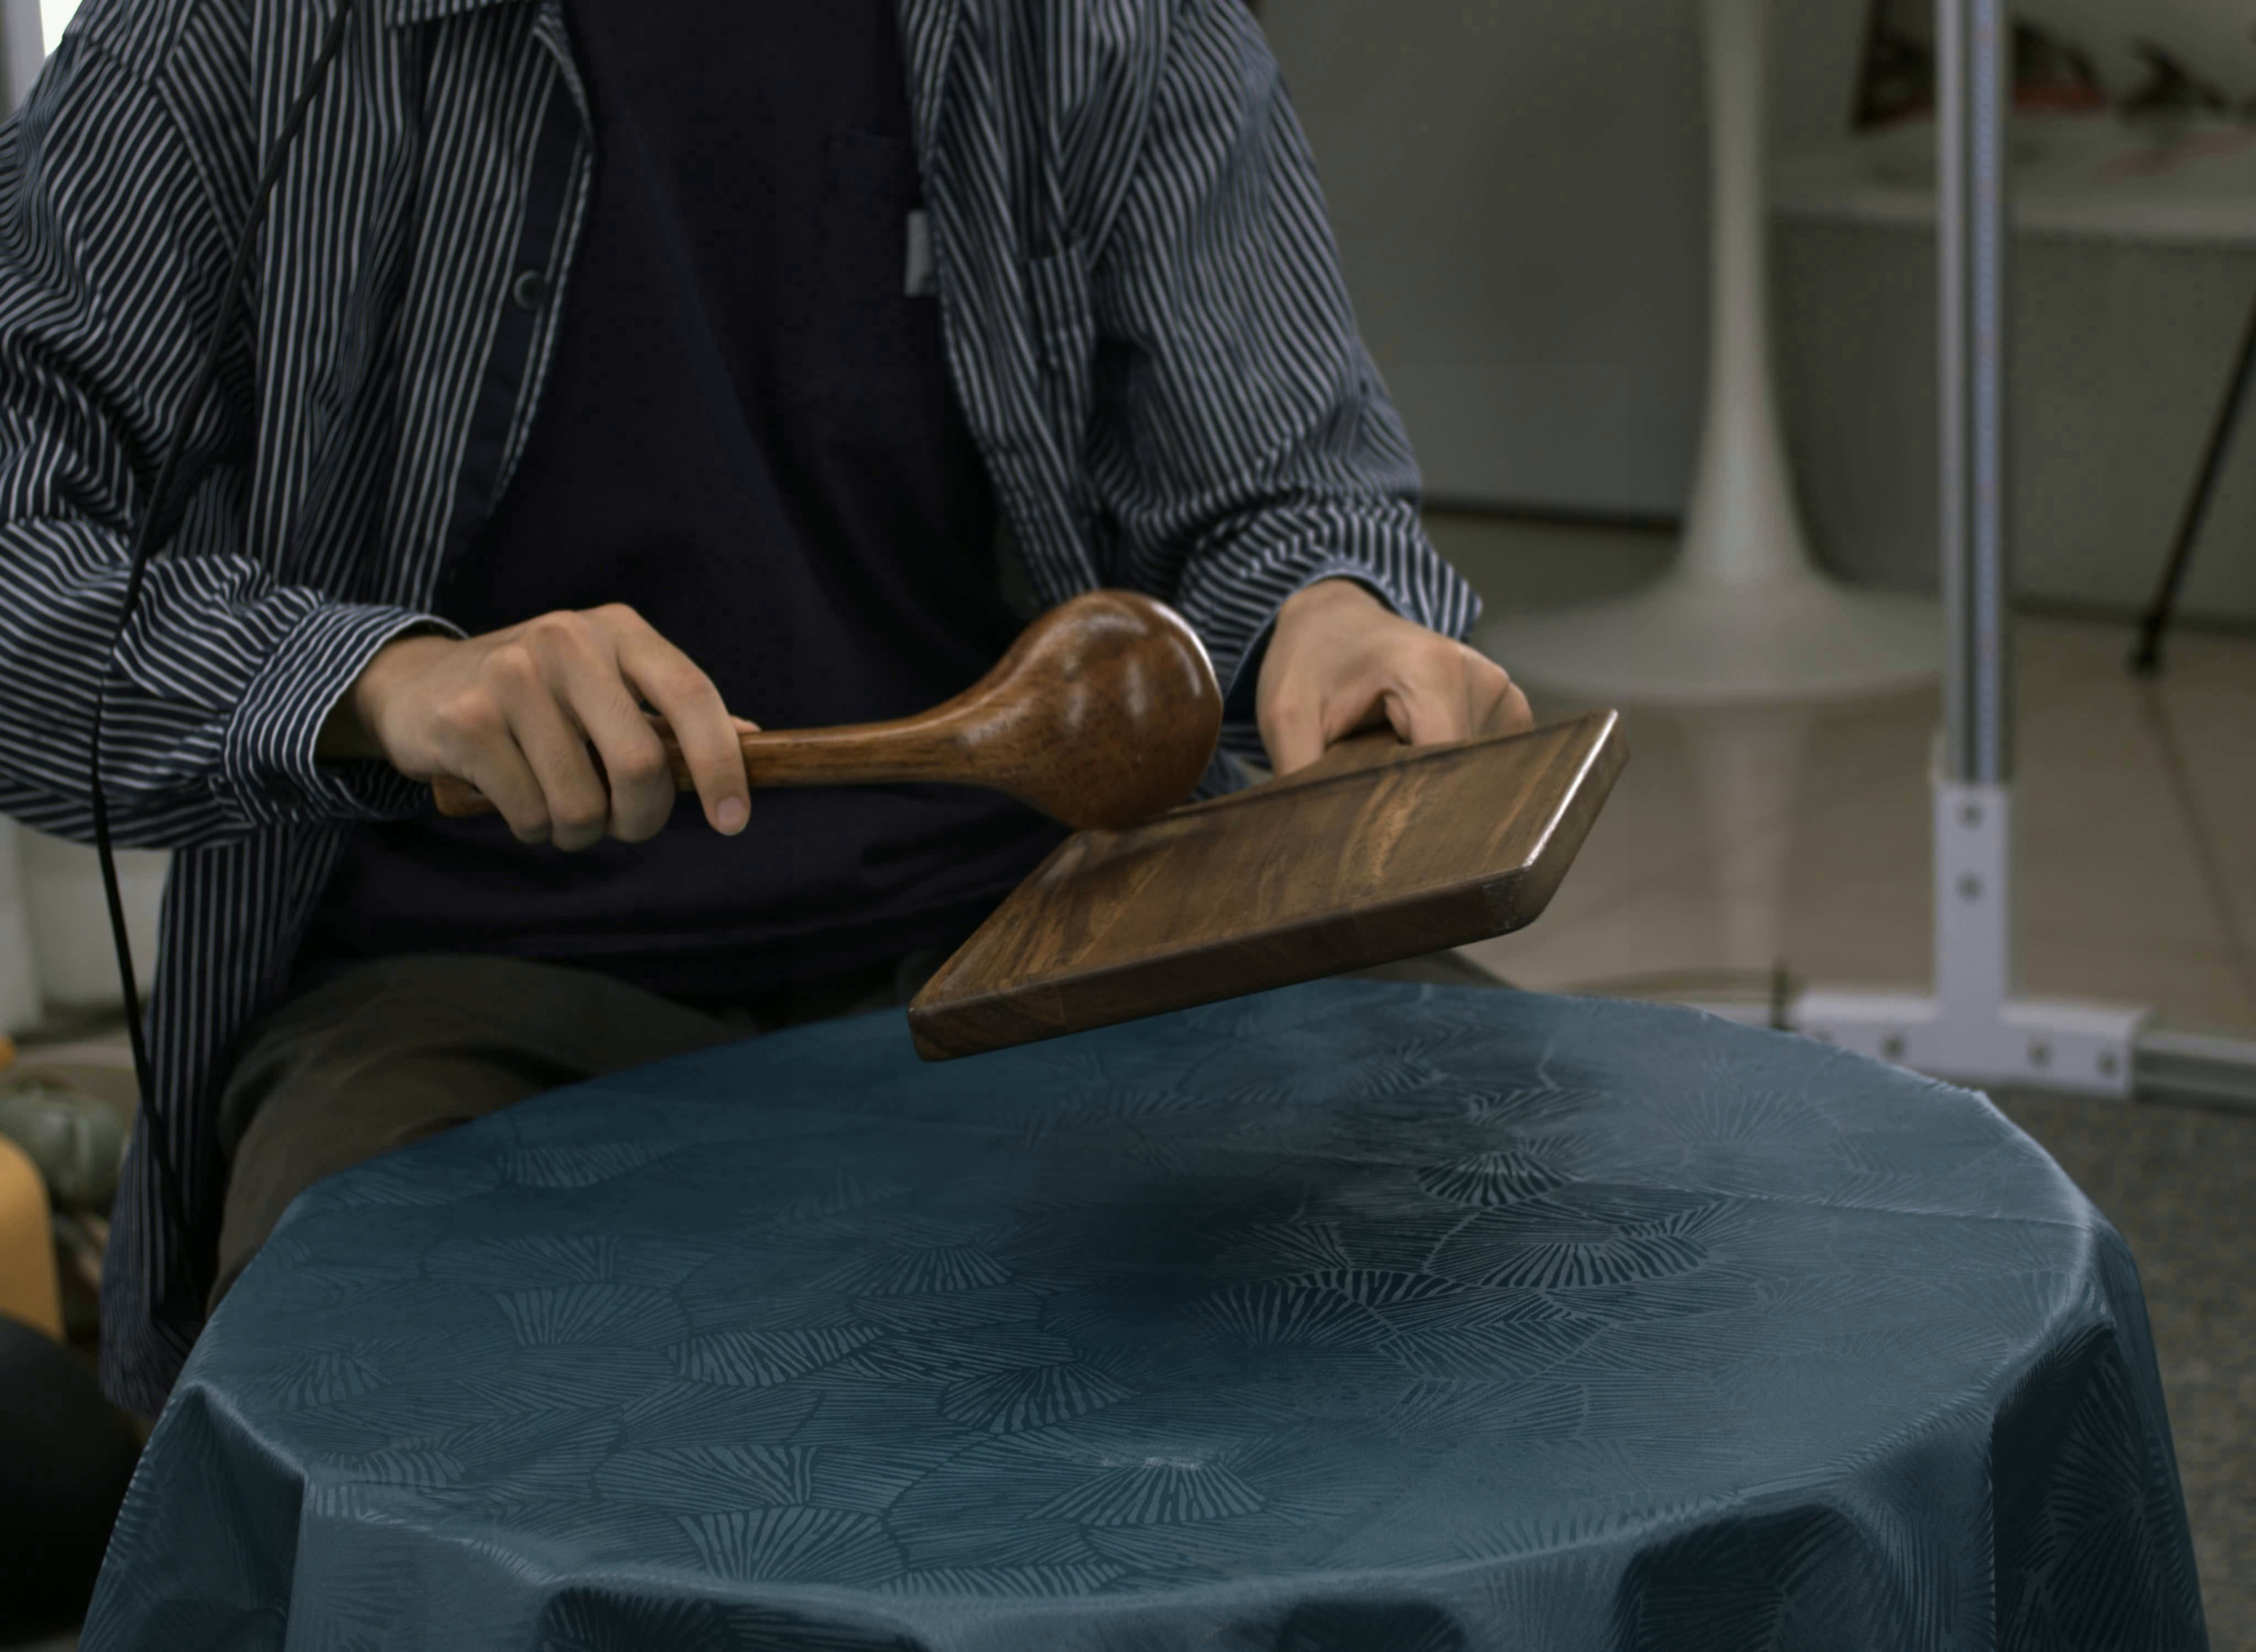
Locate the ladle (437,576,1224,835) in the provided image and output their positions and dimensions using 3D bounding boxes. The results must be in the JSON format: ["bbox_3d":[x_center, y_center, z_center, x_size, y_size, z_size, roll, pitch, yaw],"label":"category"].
[{"bbox_3d":[-0.099,-0.030,1.822,0.274,0.083,0.075,-6,5,26],"label":"ladle"}]

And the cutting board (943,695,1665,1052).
[{"bbox_3d":[0.071,0.002,1.734,0.200,0.023,0.350,-14,9,15],"label":"cutting board"}]
